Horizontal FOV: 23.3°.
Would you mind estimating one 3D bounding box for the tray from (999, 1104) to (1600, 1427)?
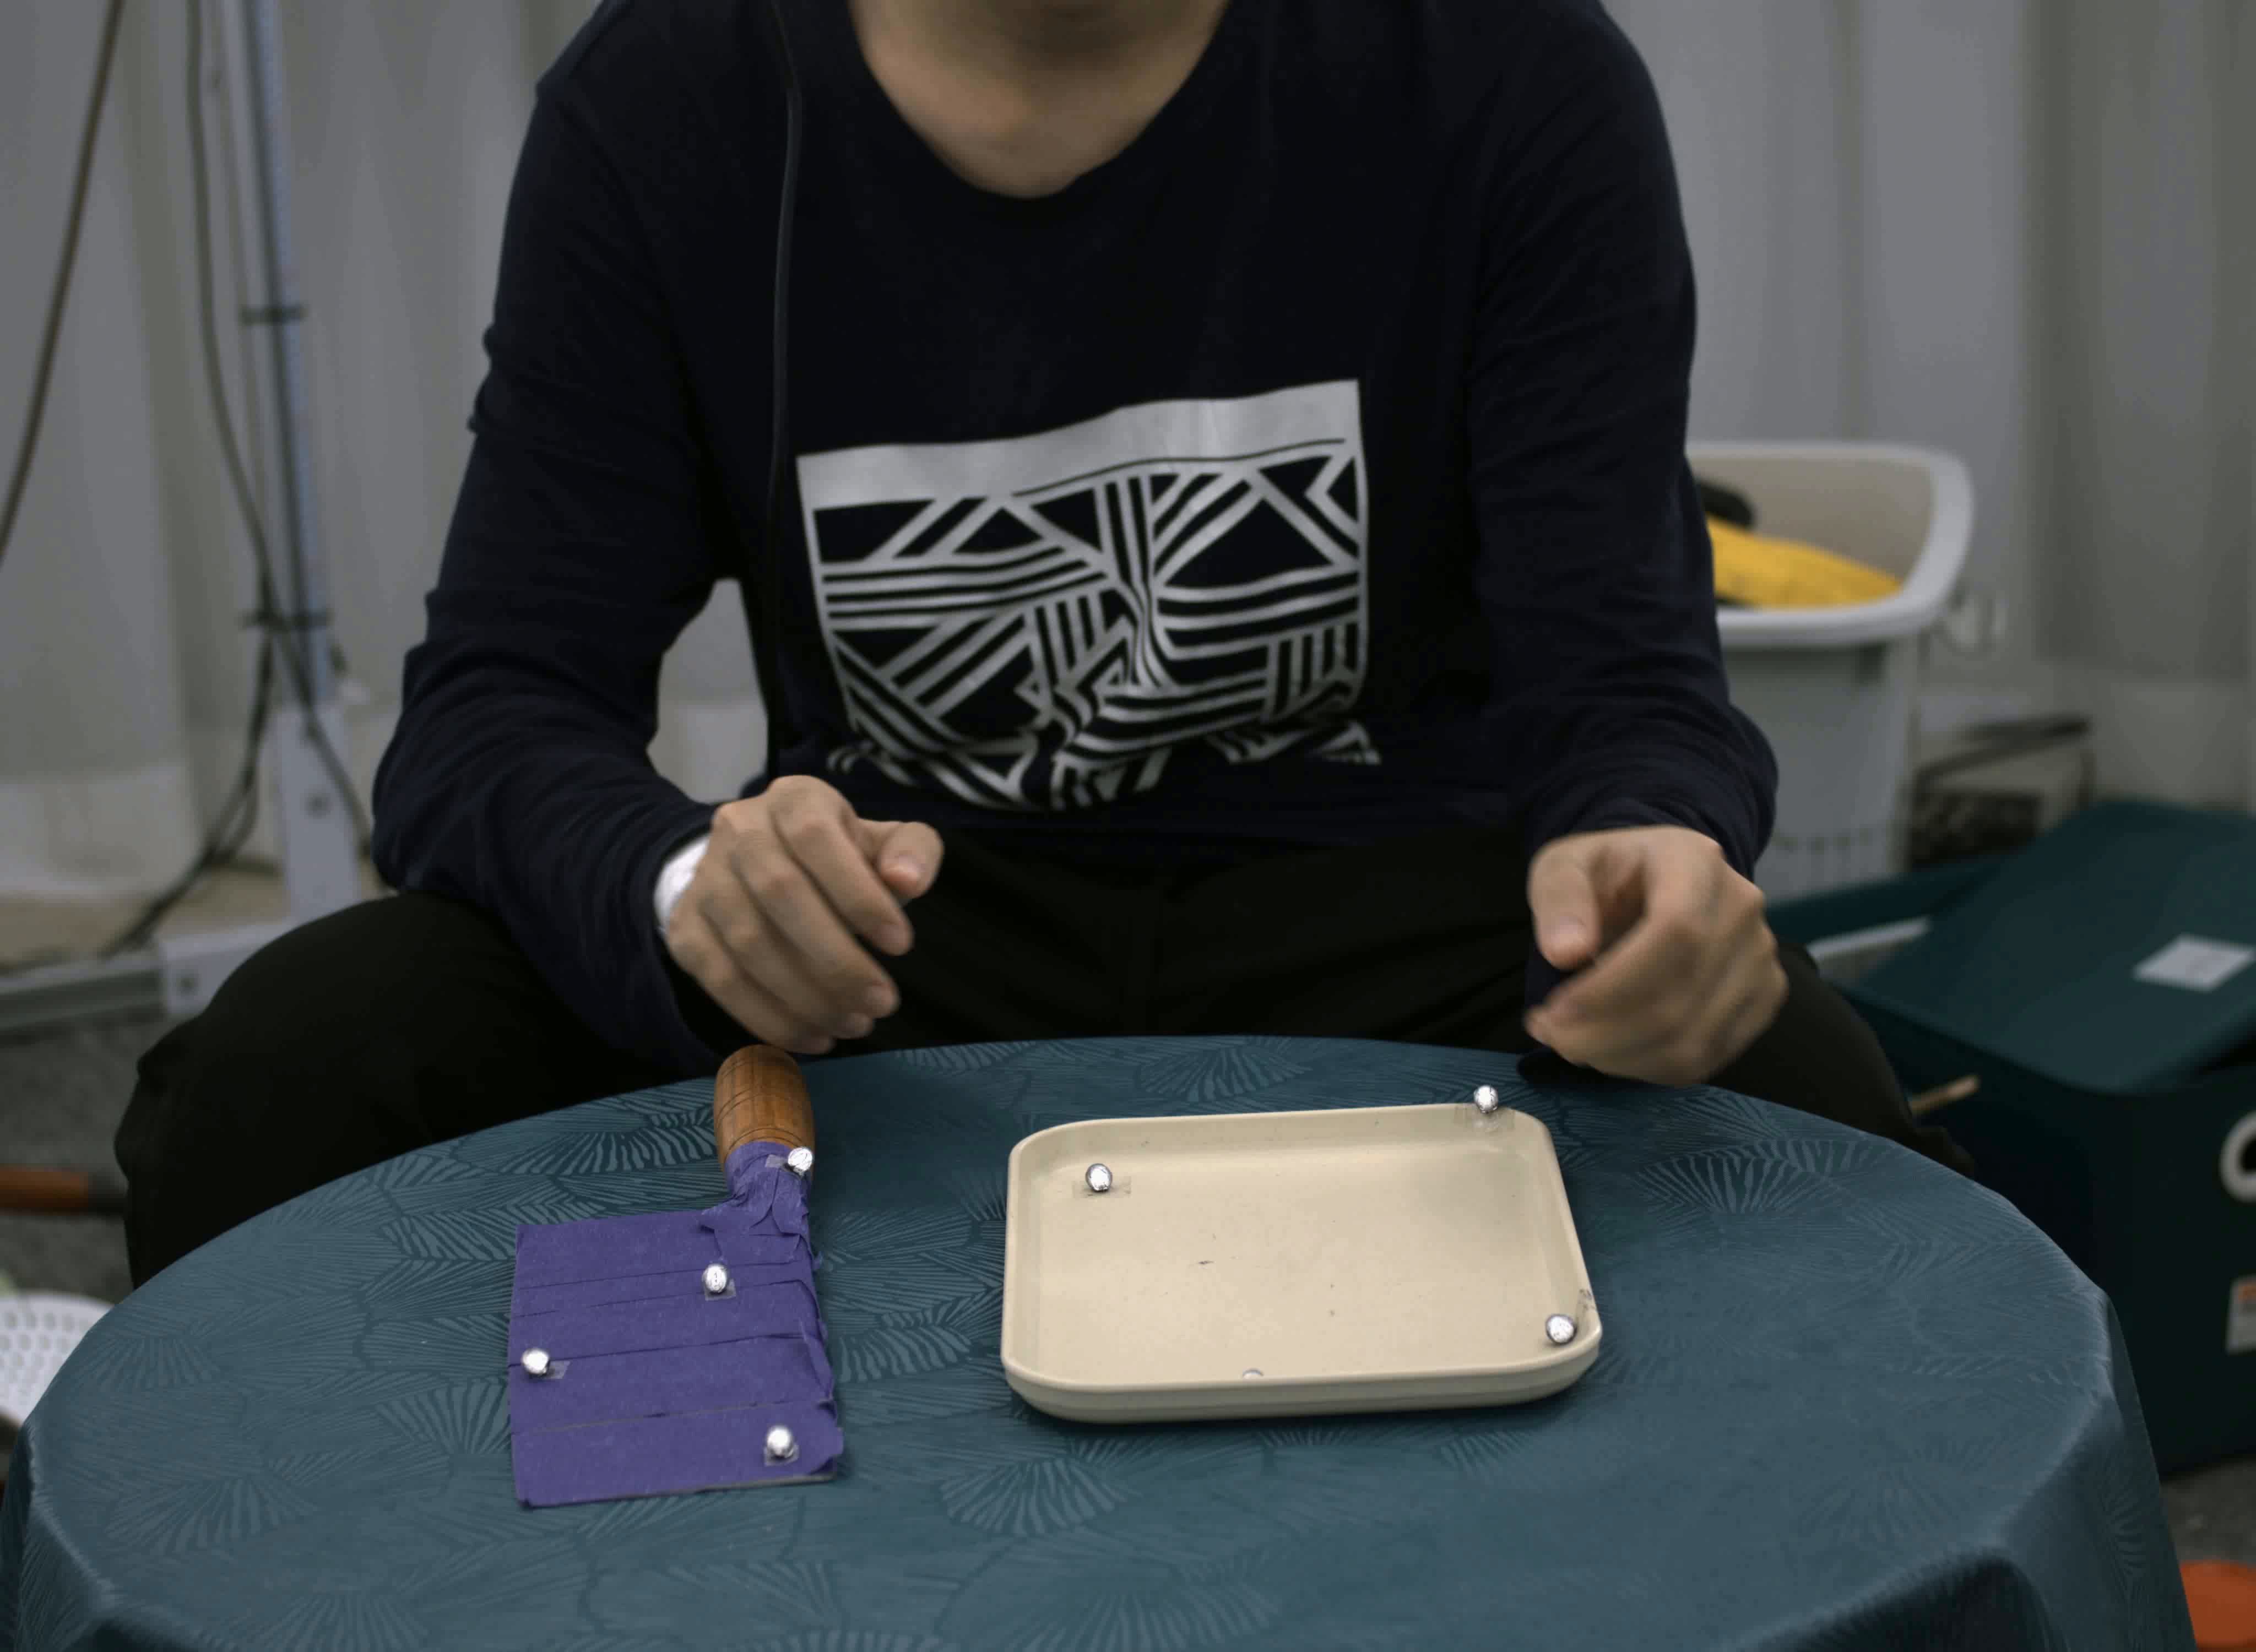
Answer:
[{"bbox_3d":[0.047,0.129,1.620,0.171,0.017,0.241,-3,15,1],"label":"tray"}]

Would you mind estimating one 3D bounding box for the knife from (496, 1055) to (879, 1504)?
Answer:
[{"bbox_3d":[-0.136,0.131,1.630,0.103,0.032,0.317,-4,15,-6],"label":"knife"}]
